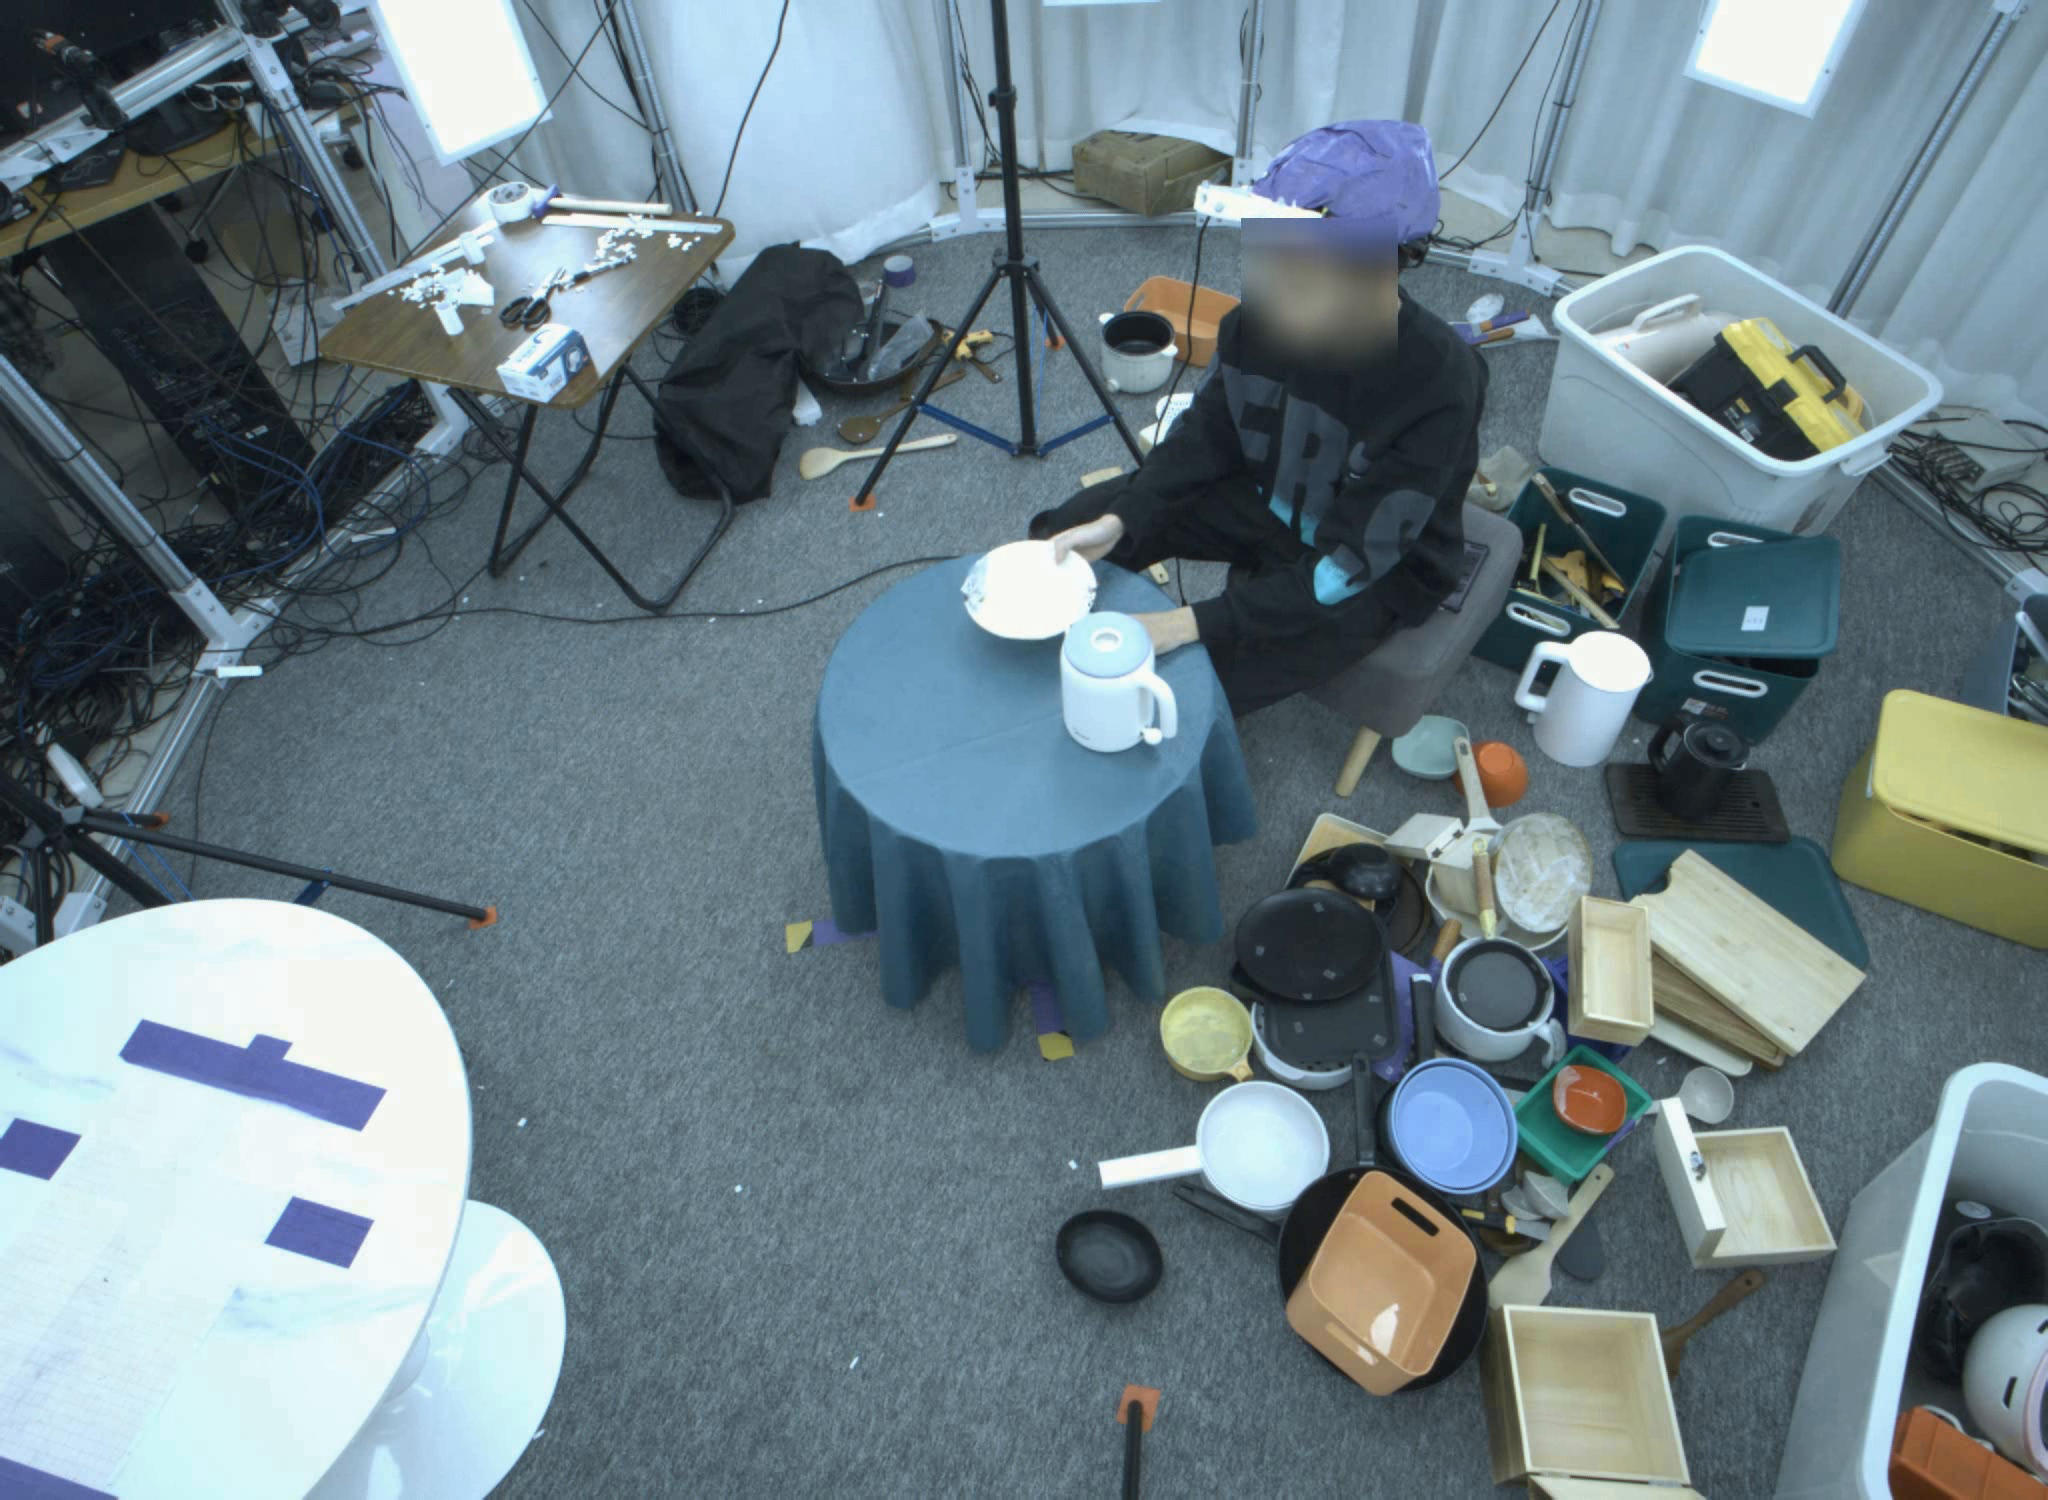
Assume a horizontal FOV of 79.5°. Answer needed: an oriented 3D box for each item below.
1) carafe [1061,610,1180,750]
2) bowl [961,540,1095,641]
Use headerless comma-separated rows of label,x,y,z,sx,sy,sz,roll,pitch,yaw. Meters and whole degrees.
carafe,0.138,-0.086,1.734,0.188,0.184,0.133,32,64,21
bowl,0.007,-0.225,1.896,0.204,0.078,0.202,1,55,0
